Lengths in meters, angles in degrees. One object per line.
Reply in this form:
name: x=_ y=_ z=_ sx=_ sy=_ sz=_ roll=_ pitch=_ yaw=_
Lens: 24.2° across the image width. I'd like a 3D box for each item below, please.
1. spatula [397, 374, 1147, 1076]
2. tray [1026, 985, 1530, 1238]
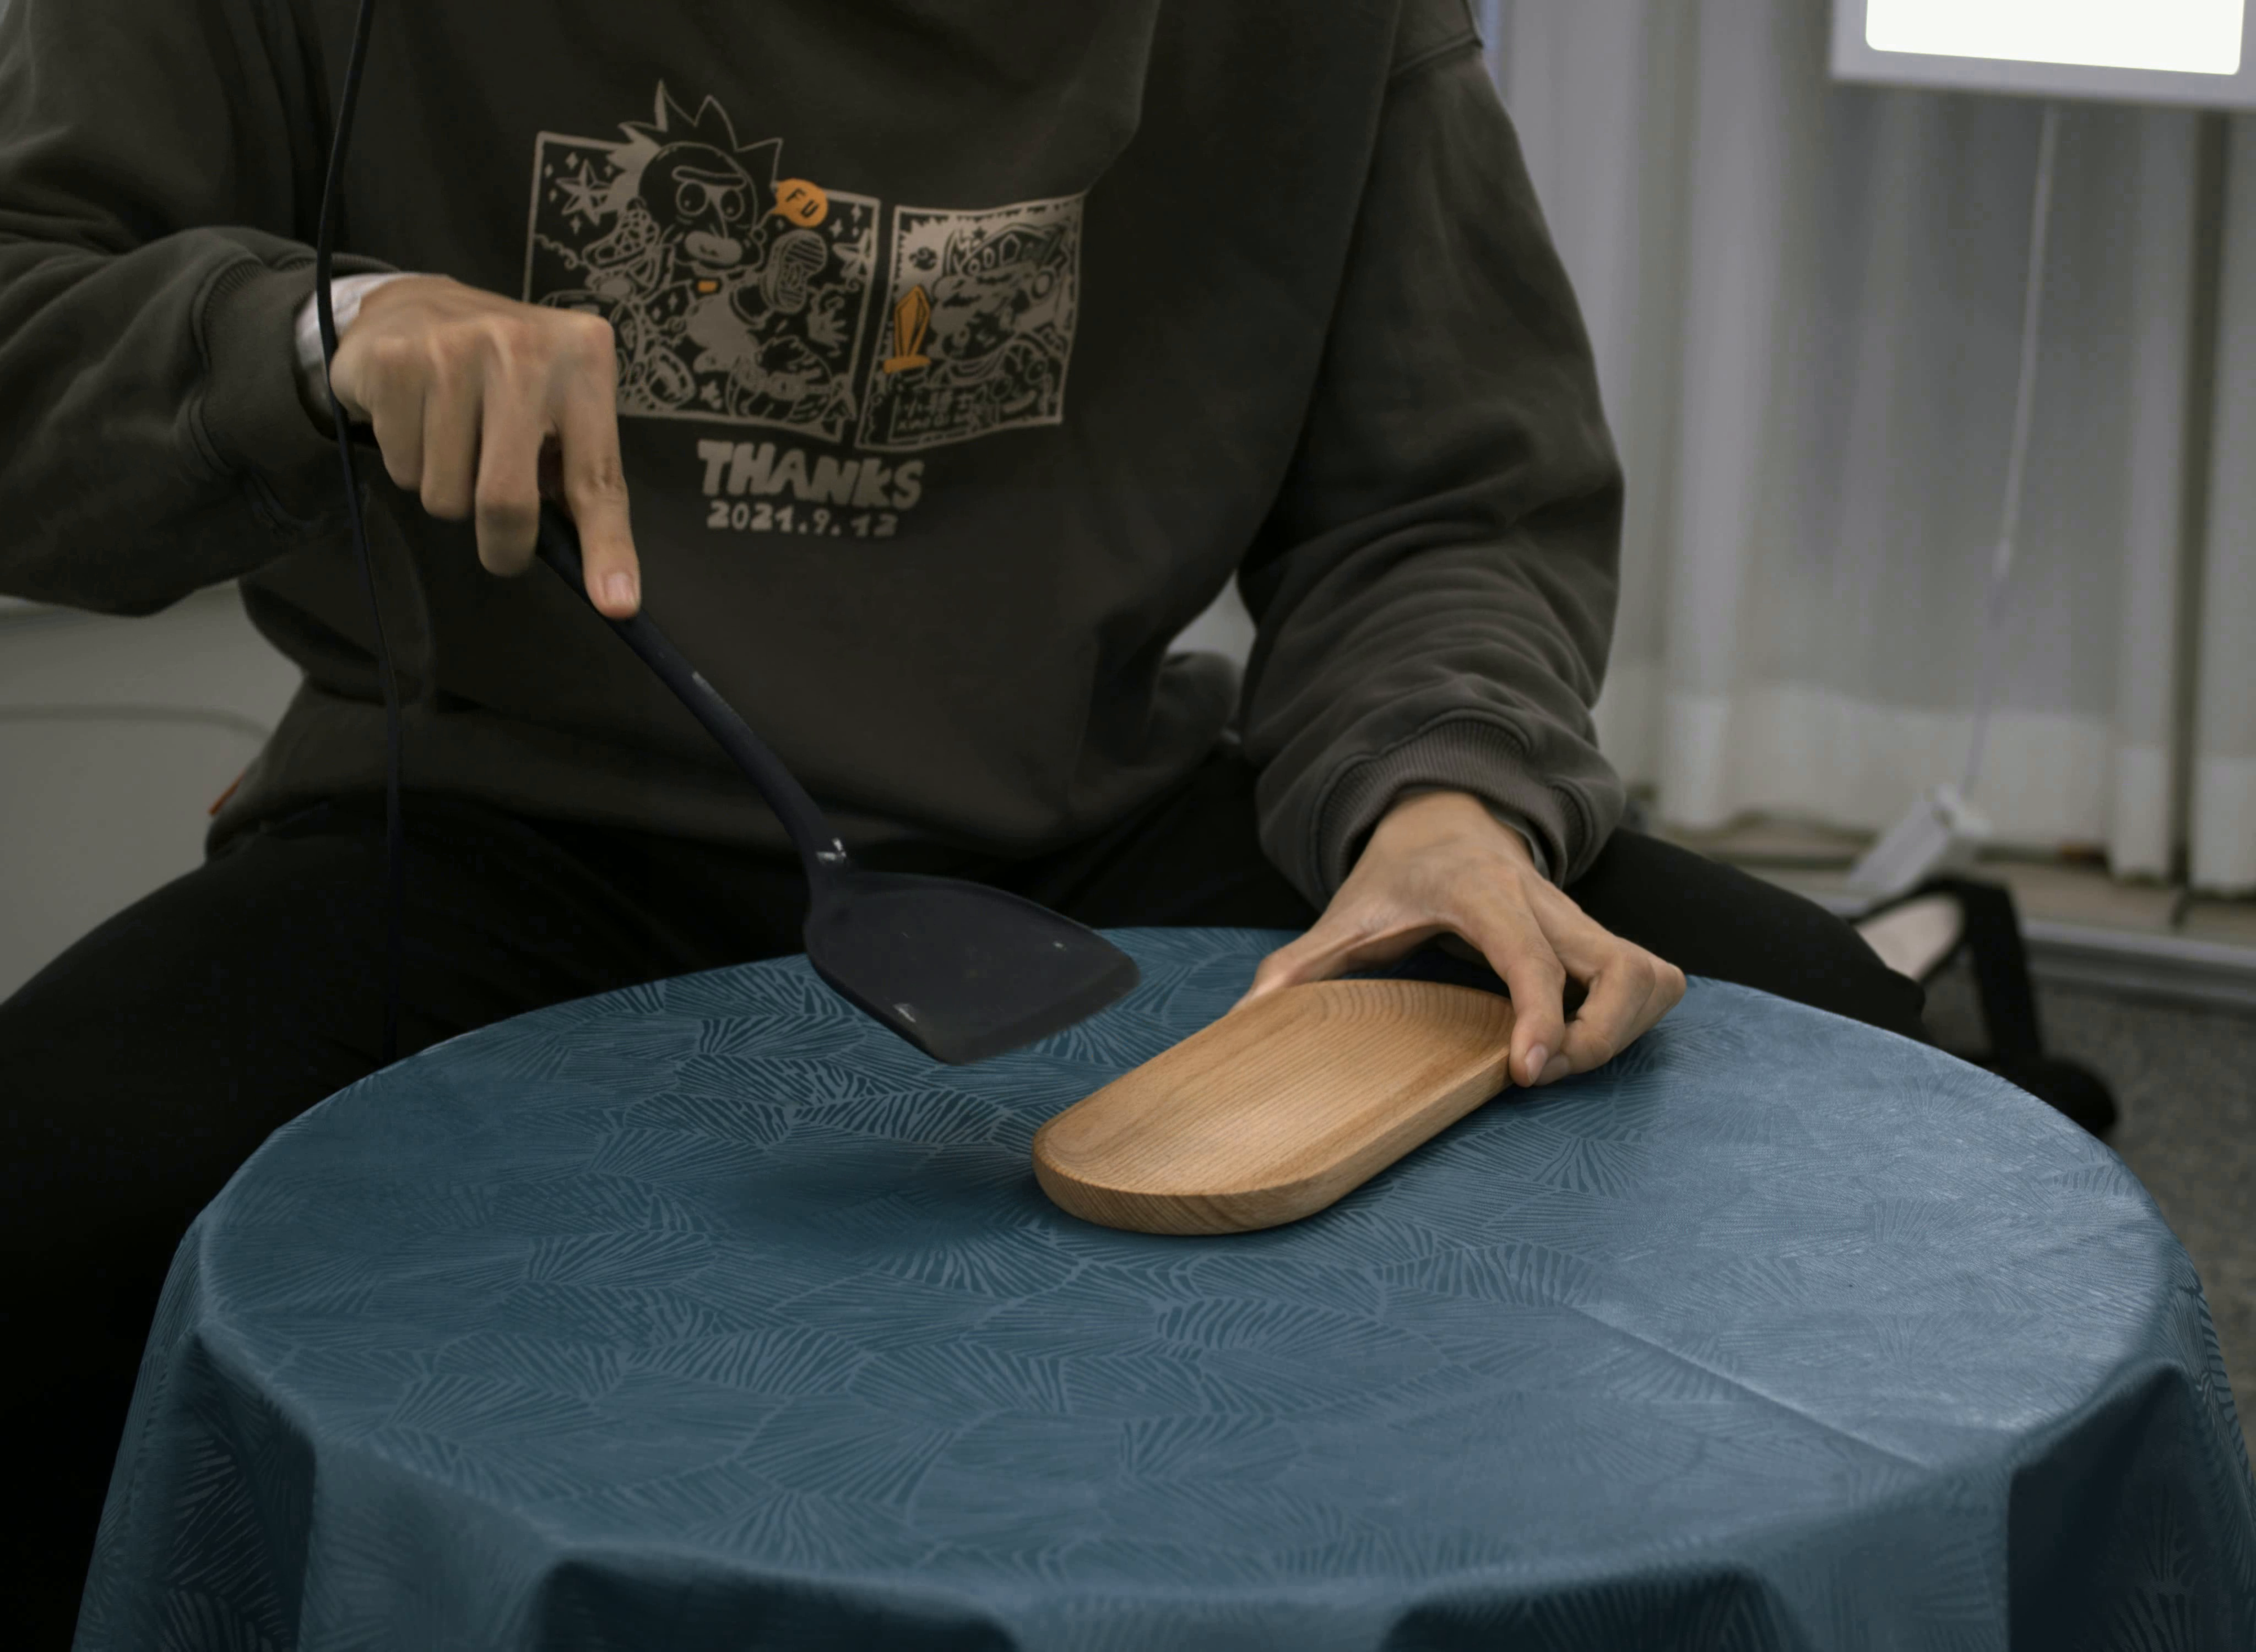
spatula: x=-0.128 y=-0.039 z=1.672 sx=0.324 sy=0.040 sz=0.100 roll=49 pitch=39 yaw=15
tray: x=0.051 y=0.090 z=1.685 sx=0.100 sy=0.020 sz=0.232 roll=7 pitch=18 yaw=28
